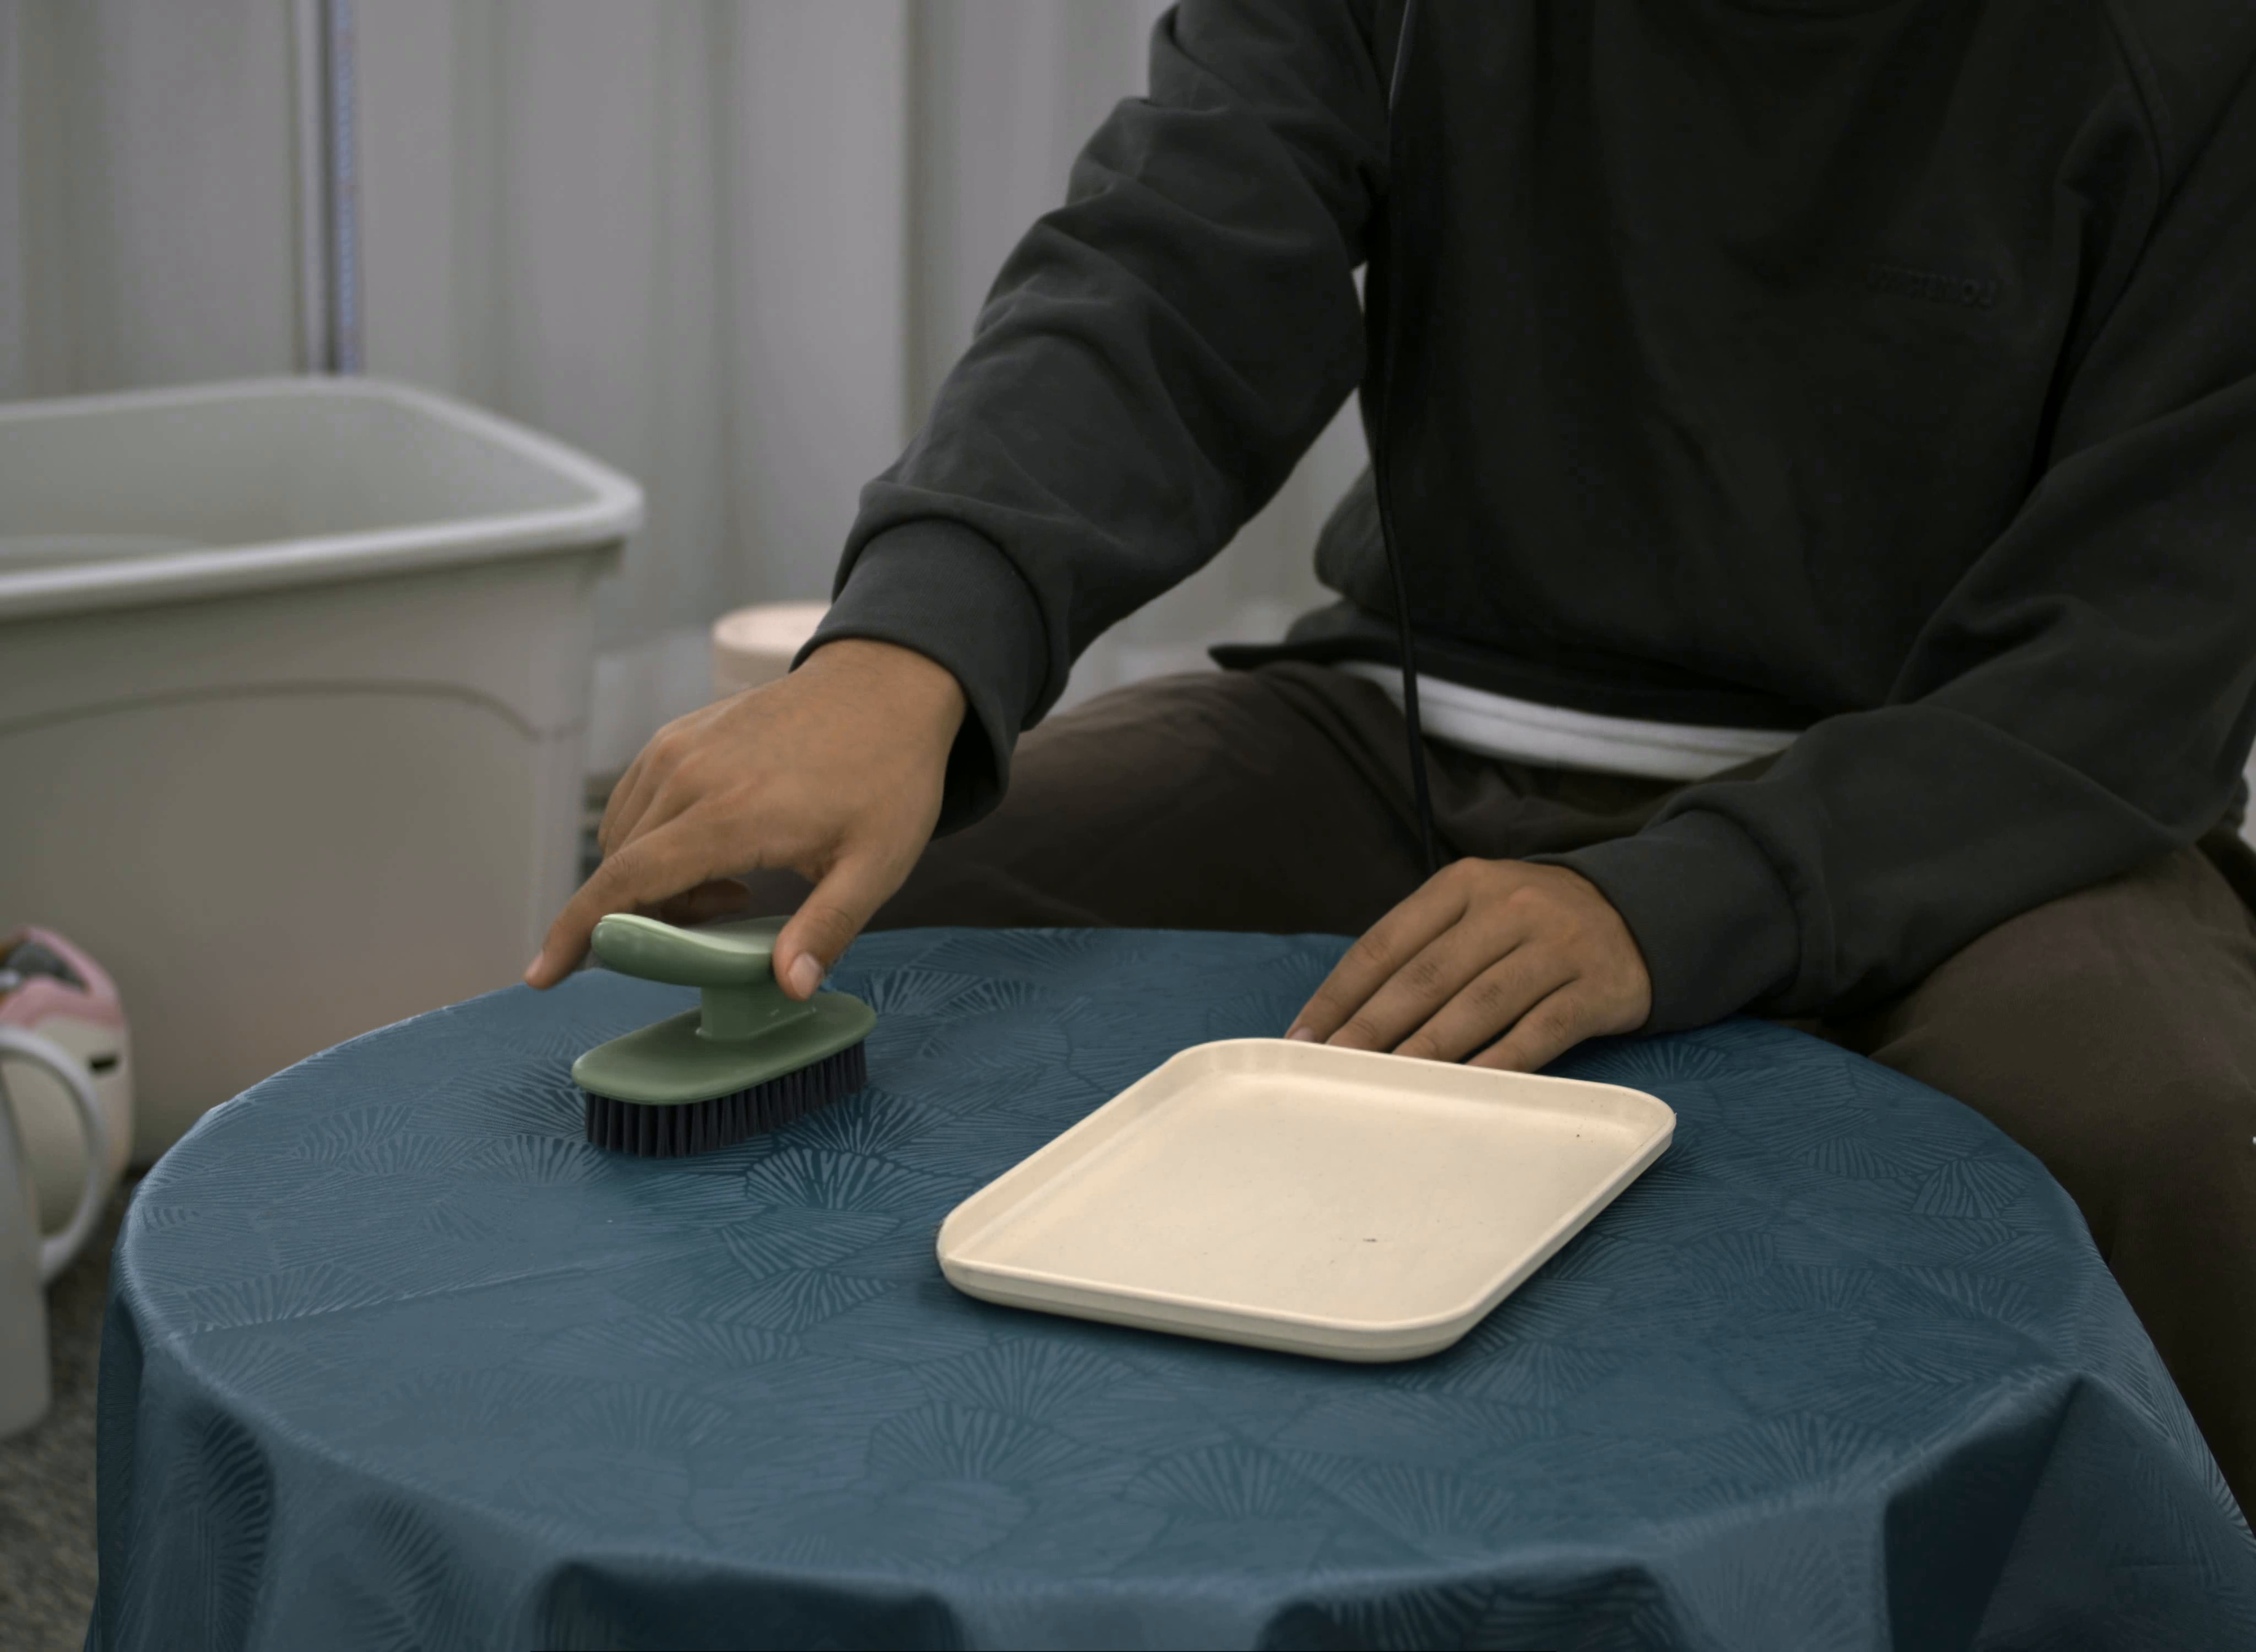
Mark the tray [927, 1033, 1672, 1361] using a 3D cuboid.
[{"bbox_3d":[0.056,0.111,1.600,0.169,0.017,0.240,8,17,23],"label":"tray"}]

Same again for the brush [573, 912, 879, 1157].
[{"bbox_3d":[-0.129,0.066,1.690,0.059,0.076,0.124,12,5,32],"label":"brush"}]
